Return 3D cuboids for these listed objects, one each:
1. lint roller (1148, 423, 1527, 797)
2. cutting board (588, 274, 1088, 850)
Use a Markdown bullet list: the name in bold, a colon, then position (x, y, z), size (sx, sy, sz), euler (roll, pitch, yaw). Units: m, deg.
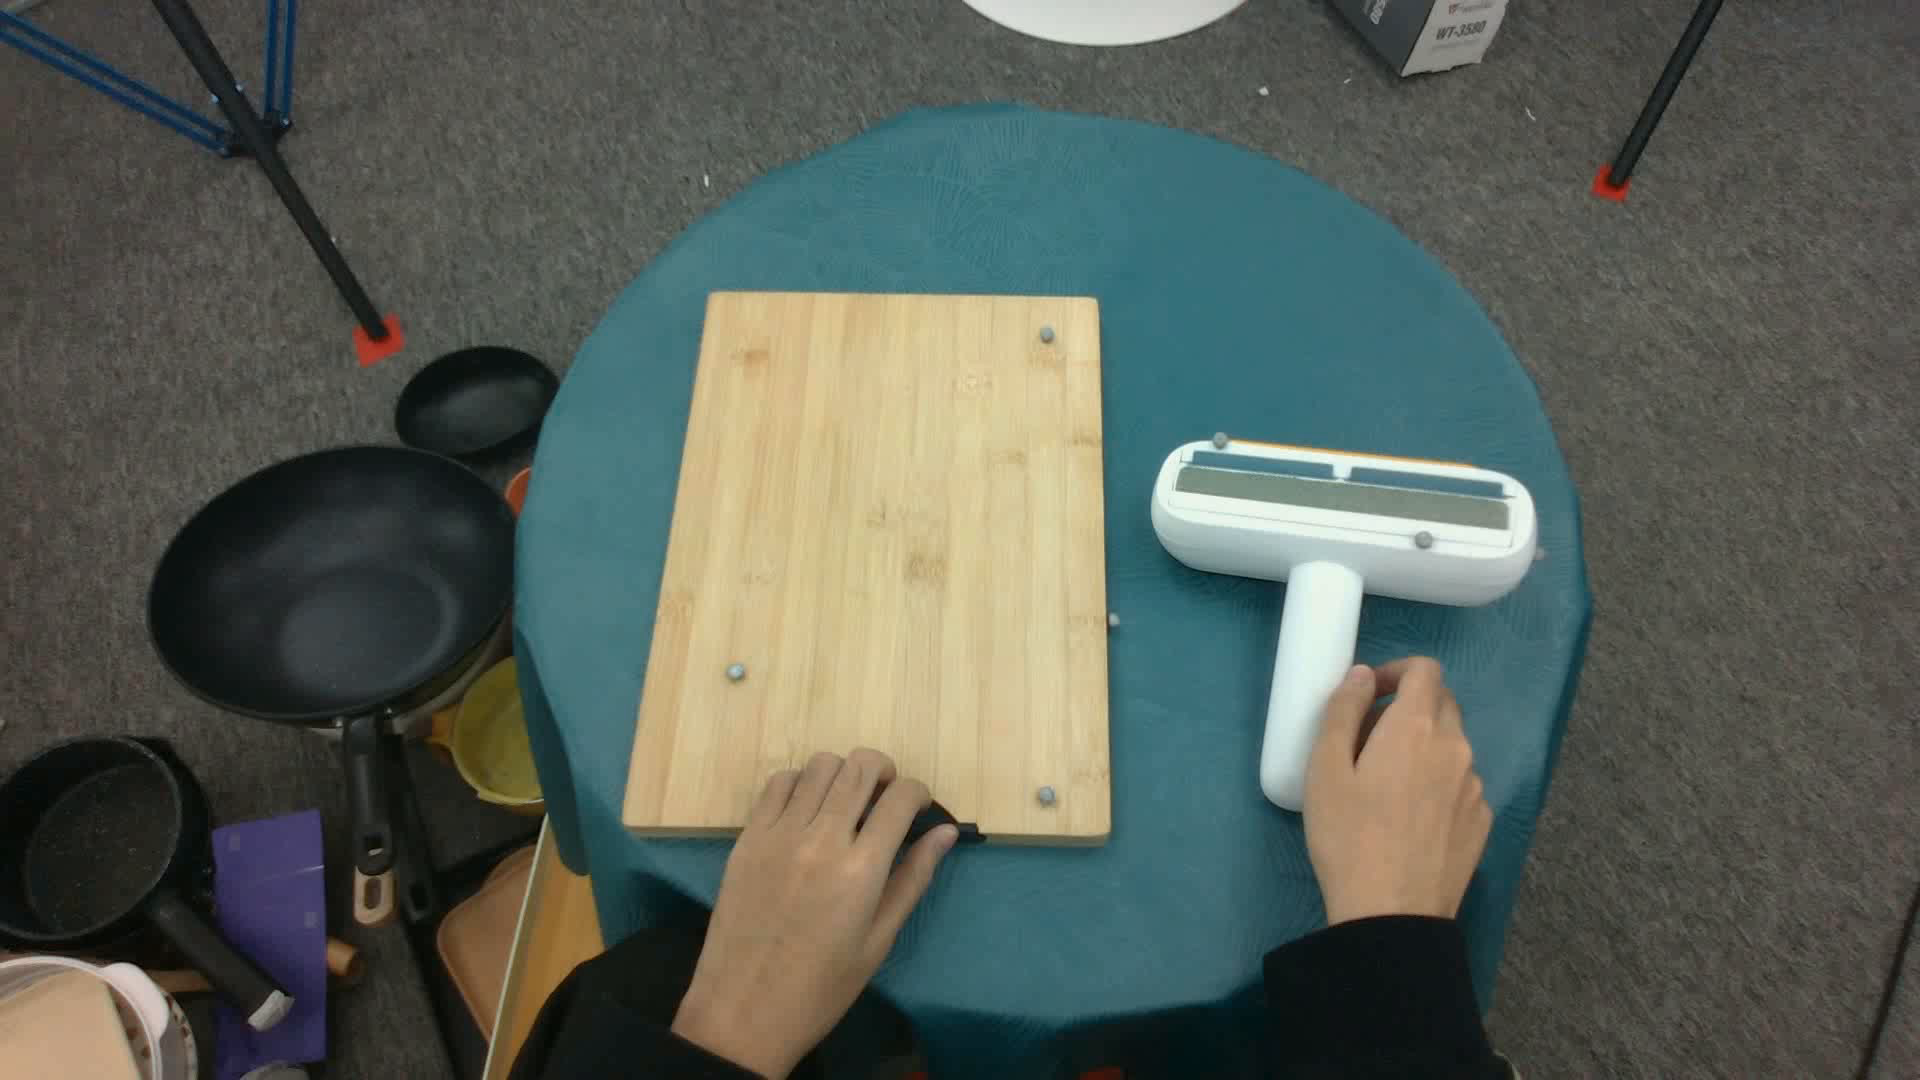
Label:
- **lint roller**: position (0.177, 0.036, 0.706), size (0.193, 0.074, 0.193), euler (14, 62, 14)
- **cutting board**: position (-0.052, -0.004, 0.758), size (0.251, 0.023, 0.350), euler (1, 60, 1)
